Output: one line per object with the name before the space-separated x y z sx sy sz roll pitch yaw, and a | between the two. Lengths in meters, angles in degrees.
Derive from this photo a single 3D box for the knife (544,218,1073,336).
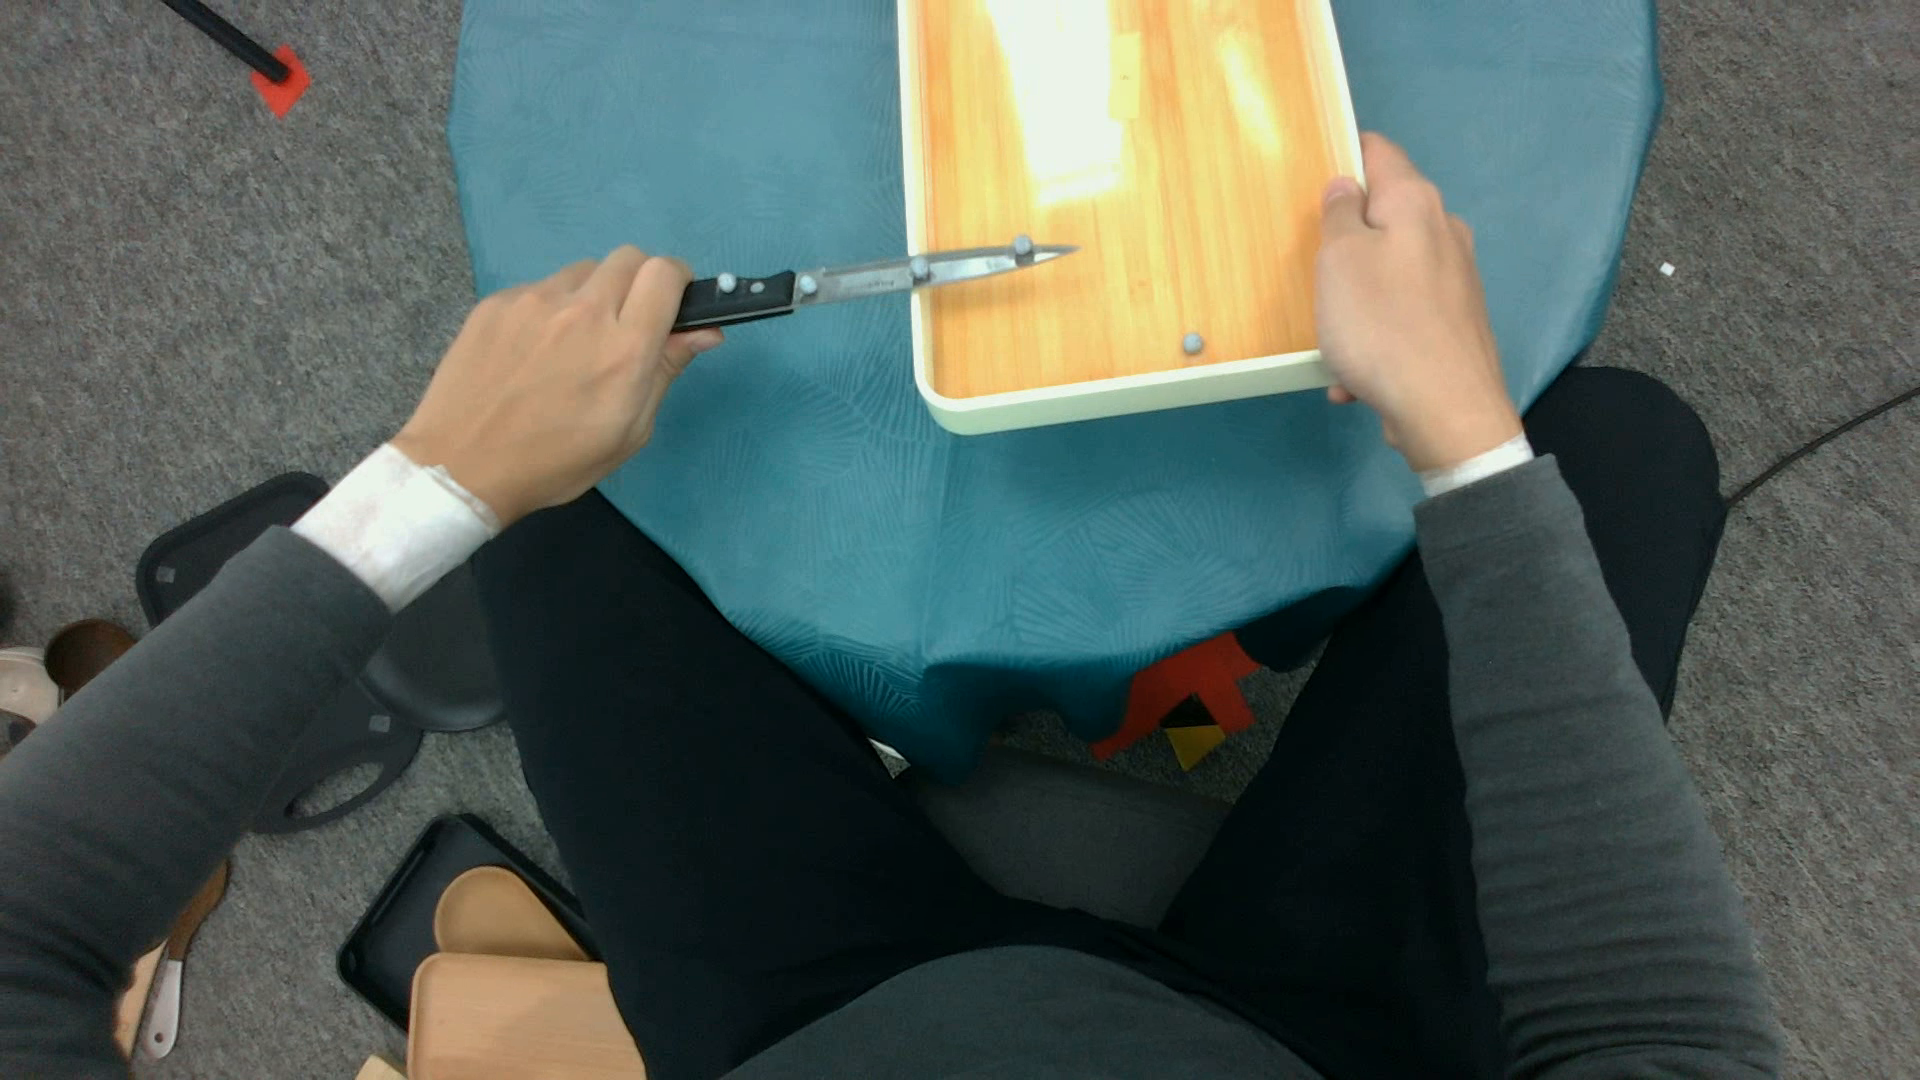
knife | -0.069 -0.113 0.589 0.238 0.016 0.024 -8 56 11

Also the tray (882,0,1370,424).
tray | 0.062 -0.197 0.618 0.191 0.027 0.301 -7 64 8
